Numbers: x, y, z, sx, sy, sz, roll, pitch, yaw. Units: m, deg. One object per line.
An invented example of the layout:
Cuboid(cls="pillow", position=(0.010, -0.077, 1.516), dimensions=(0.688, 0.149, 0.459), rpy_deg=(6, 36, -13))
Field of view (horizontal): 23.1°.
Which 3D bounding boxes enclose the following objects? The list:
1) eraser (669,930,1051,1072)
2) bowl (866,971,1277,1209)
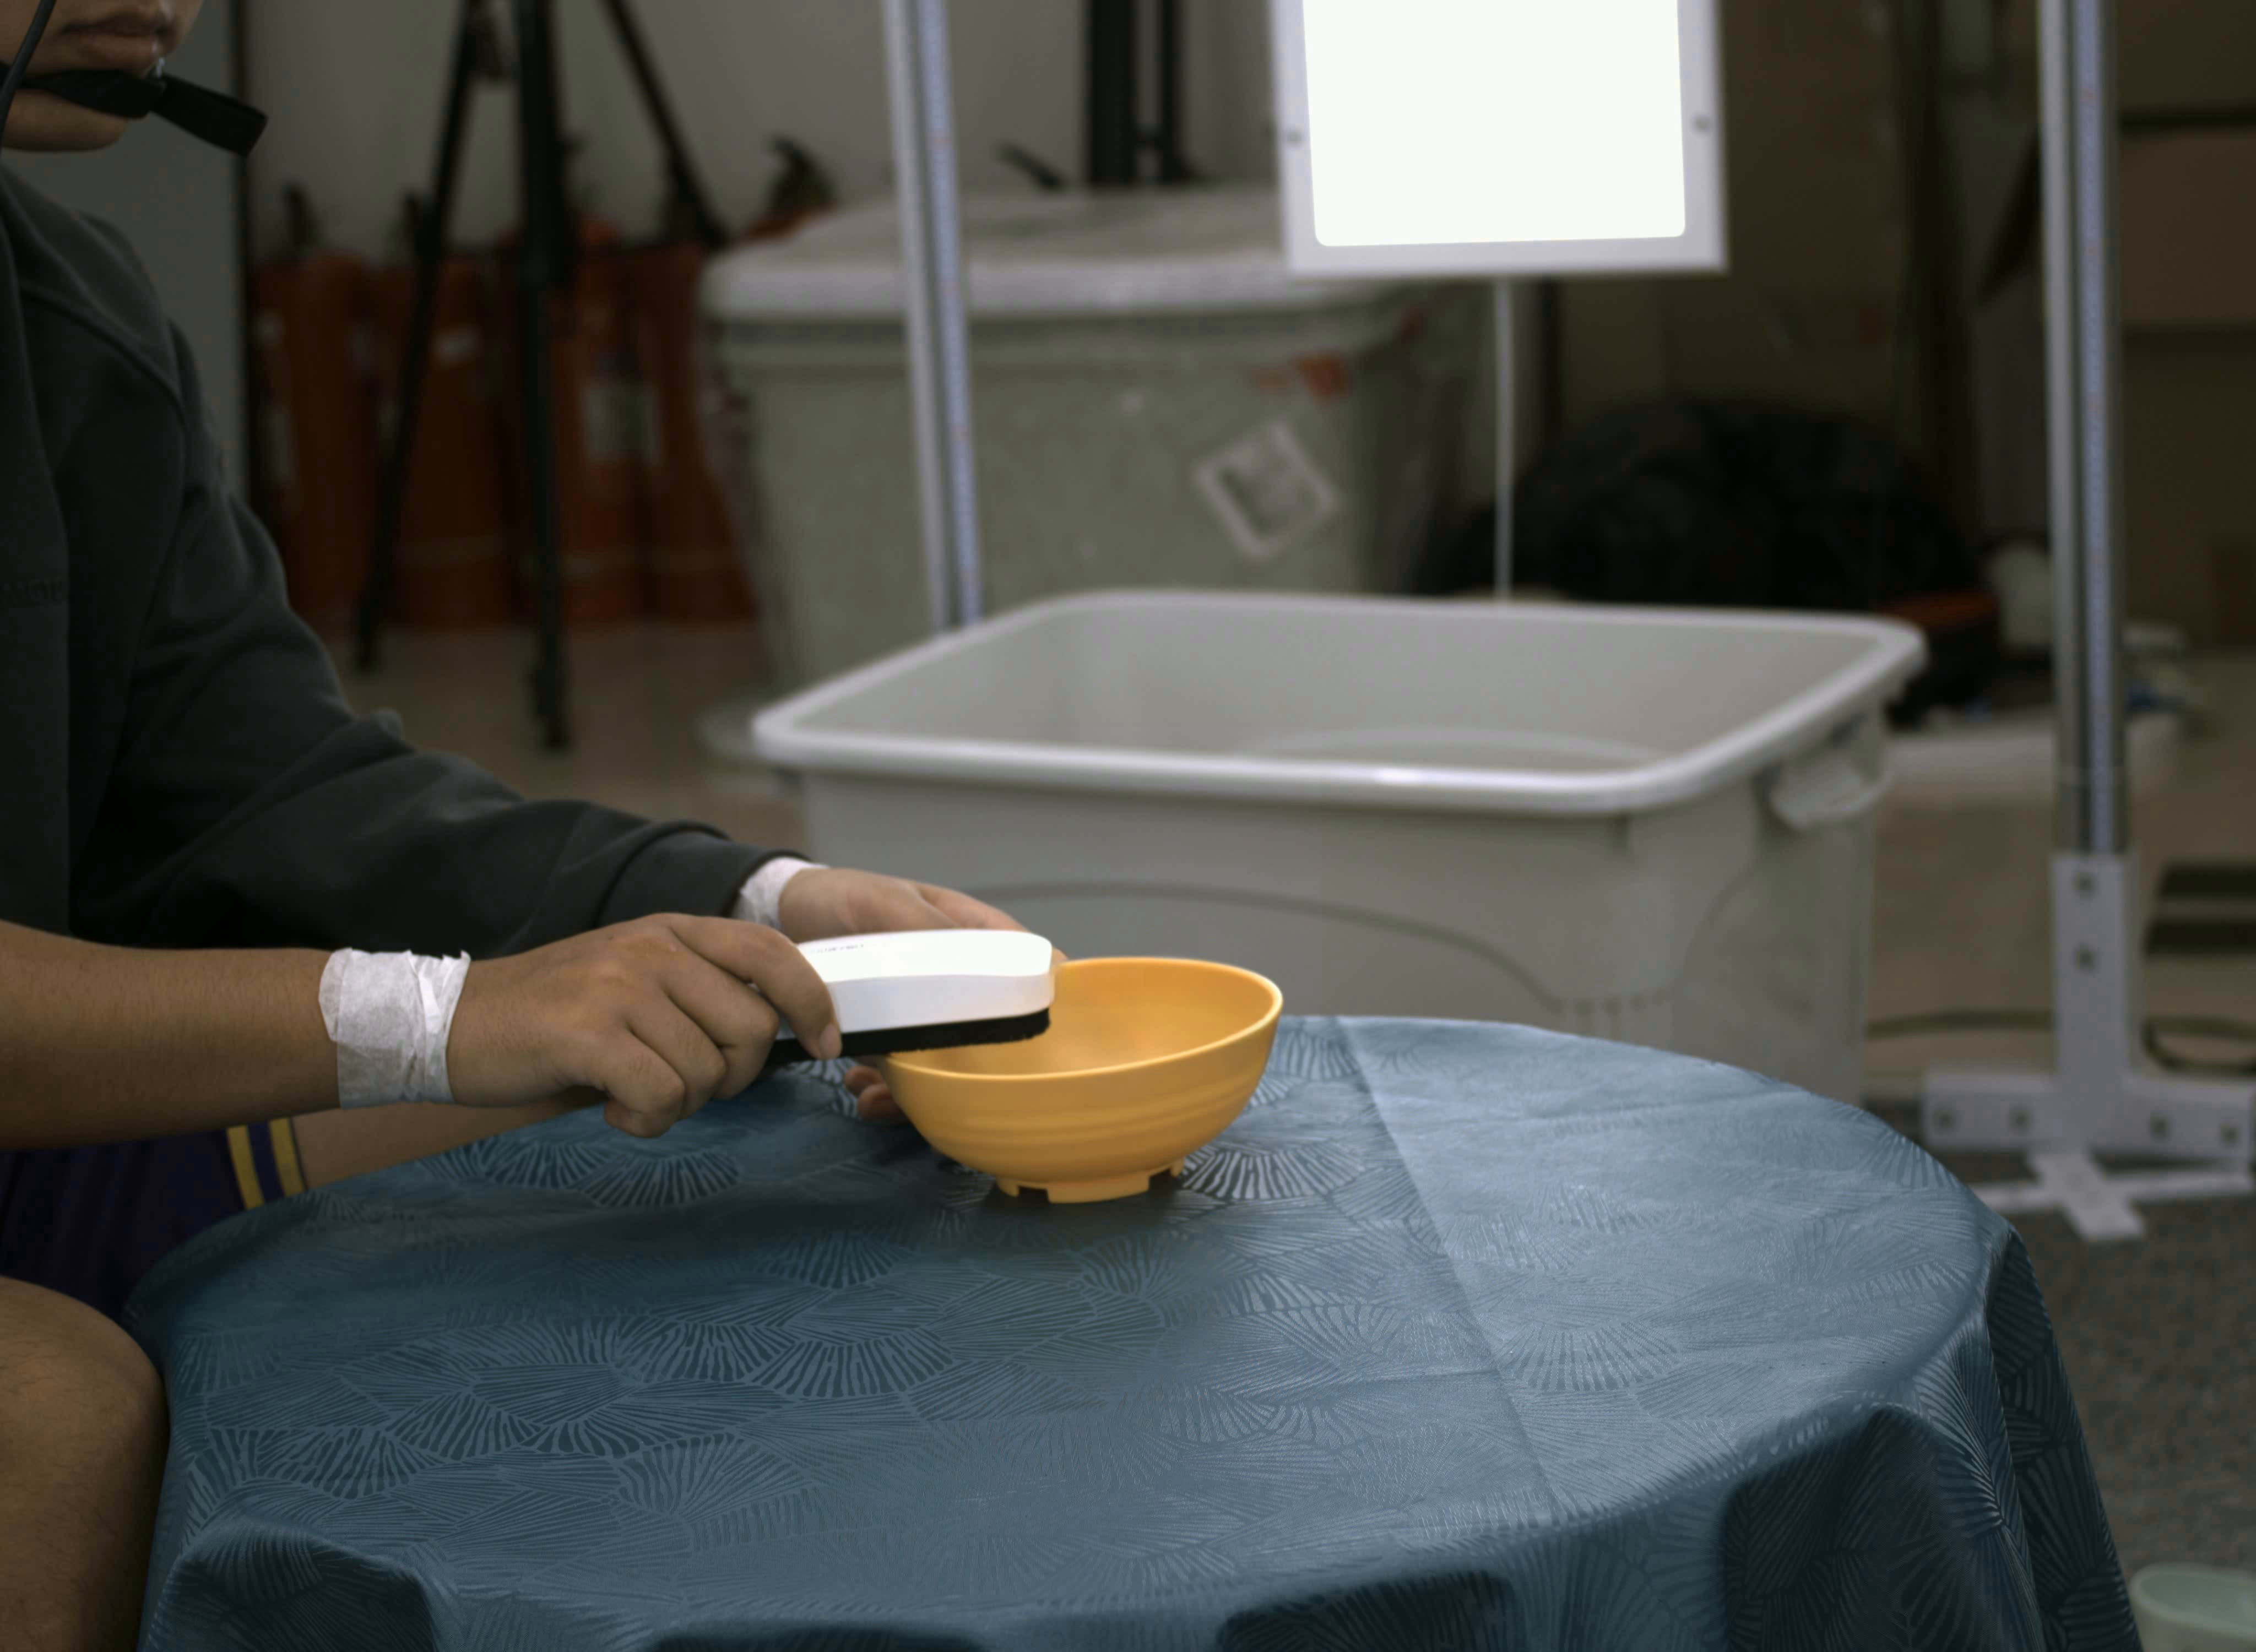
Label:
Cuboid(cls="eraser", position=(-0.091, 0.059, 1.899), dimensions=(0.131, 0.034, 0.063), rpy_deg=(-4, 13, 4))
Cuboid(cls="bowl", position=(-0.017, 0.096, 1.912), dimensions=(0.145, 0.060, 0.145), rpy_deg=(-7, 12, 0))
